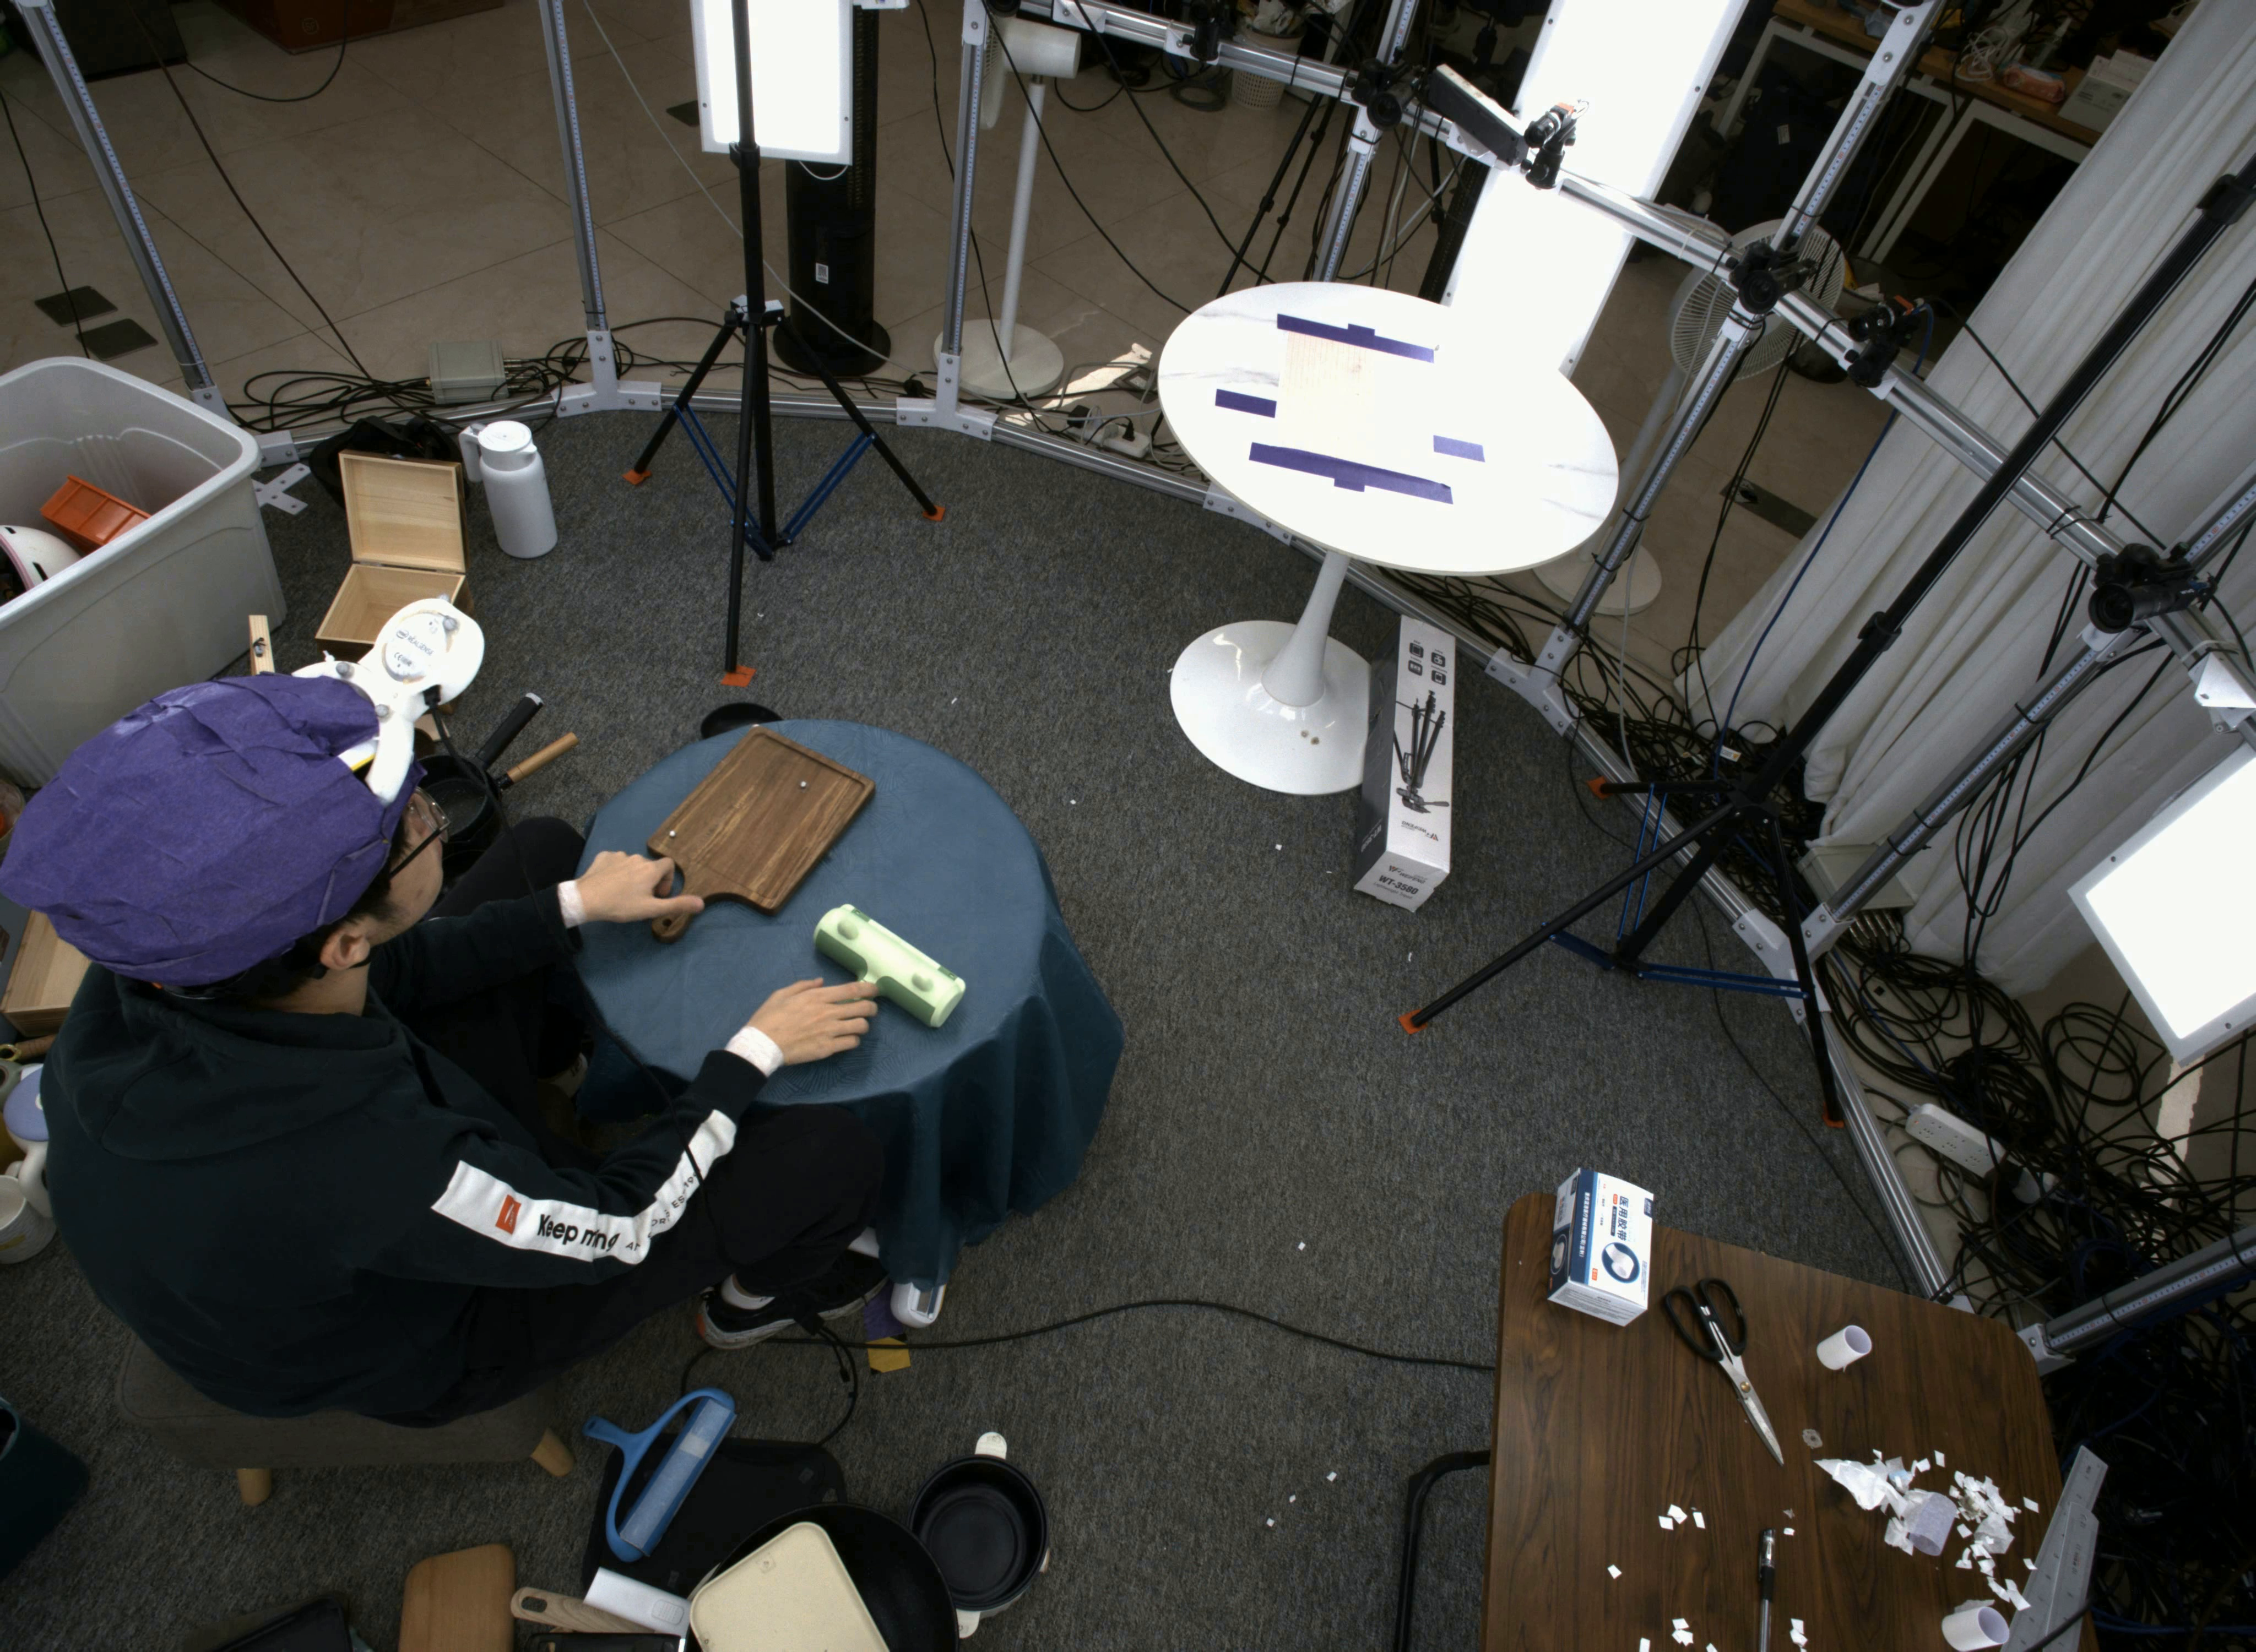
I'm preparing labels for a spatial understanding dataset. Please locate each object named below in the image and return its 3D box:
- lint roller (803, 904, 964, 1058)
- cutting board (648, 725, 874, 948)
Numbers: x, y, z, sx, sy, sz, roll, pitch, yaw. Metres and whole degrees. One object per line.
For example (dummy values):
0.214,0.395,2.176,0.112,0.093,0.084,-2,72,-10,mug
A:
-0.325,0.196,1.562,0.195,0.084,0.183,33,49,11,lint roller
-0.501,0.019,1.682,0.198,0.023,0.350,26,52,5,cutting board
